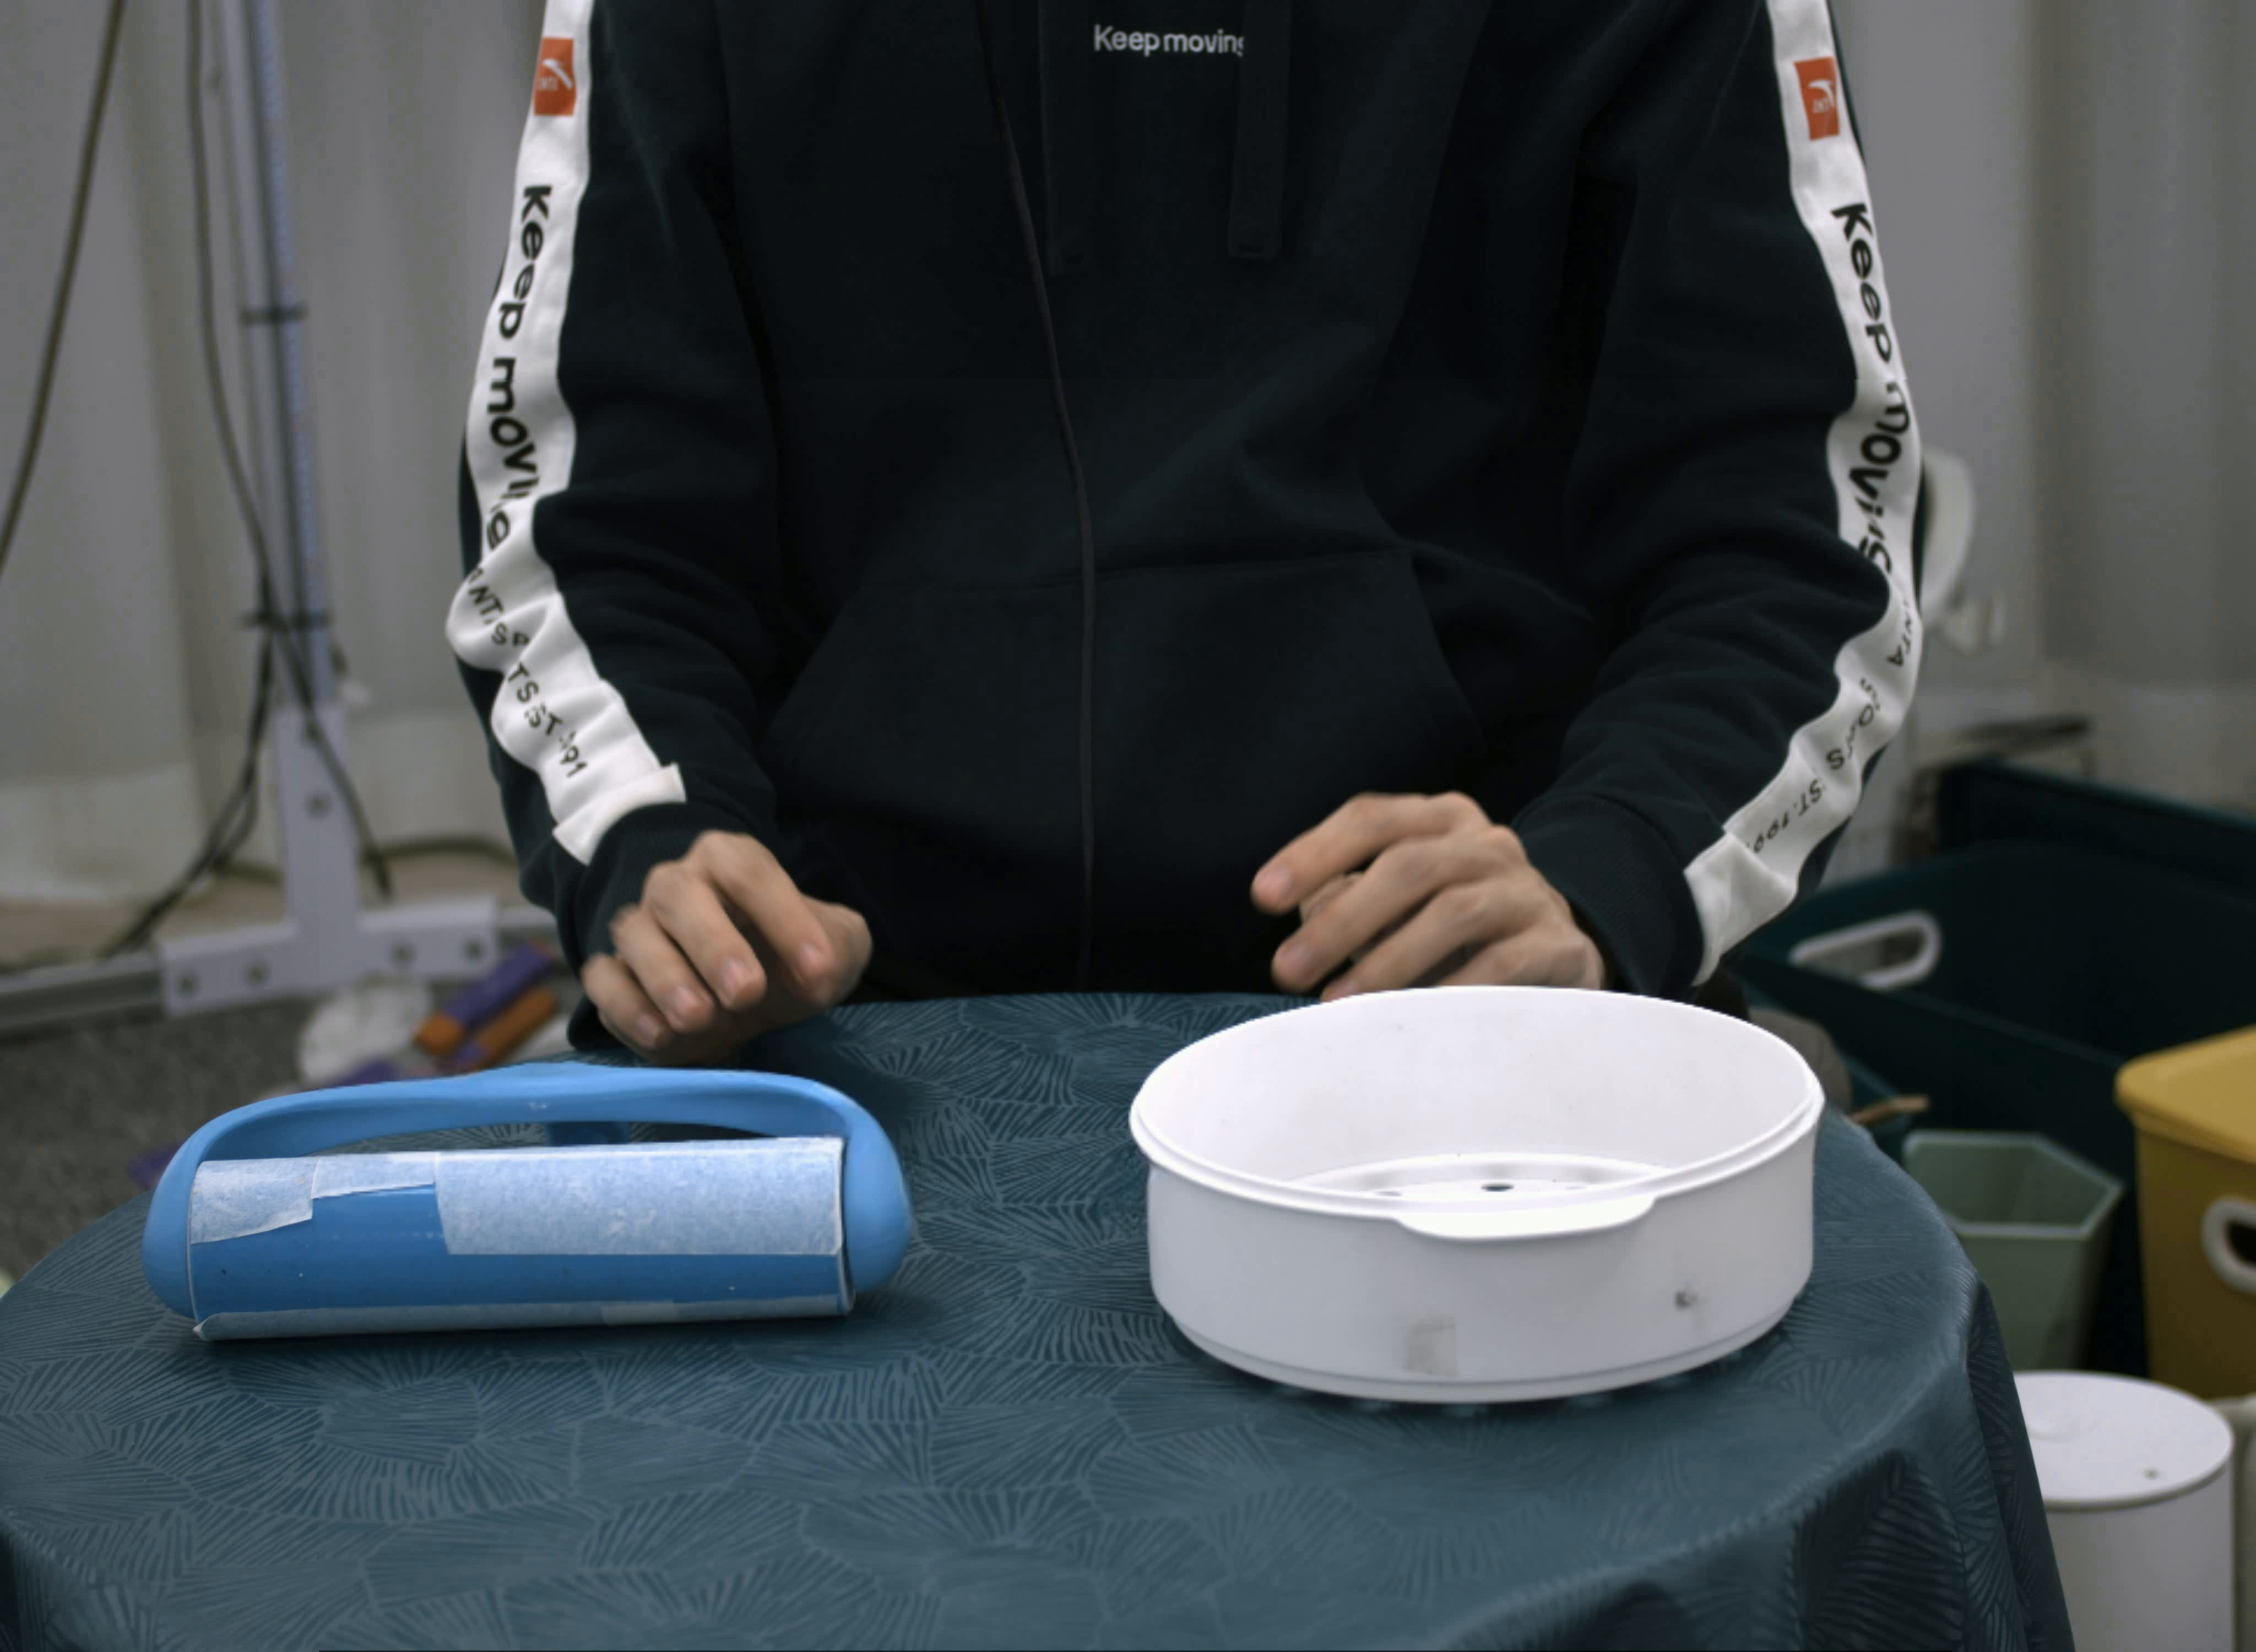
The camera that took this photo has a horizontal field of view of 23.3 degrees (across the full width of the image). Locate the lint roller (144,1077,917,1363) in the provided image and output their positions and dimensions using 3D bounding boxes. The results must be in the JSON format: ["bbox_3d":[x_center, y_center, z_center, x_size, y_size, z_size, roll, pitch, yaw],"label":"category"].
[{"bbox_3d":[-0.179,0.108,1.672,0.228,0.067,0.181,-6,16,-1],"label":"lint roller"}]

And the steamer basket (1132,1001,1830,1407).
[{"bbox_3d":[0.102,0.109,1.584,0.201,0.069,0.232,-3,14,-4],"label":"steamer basket"}]
